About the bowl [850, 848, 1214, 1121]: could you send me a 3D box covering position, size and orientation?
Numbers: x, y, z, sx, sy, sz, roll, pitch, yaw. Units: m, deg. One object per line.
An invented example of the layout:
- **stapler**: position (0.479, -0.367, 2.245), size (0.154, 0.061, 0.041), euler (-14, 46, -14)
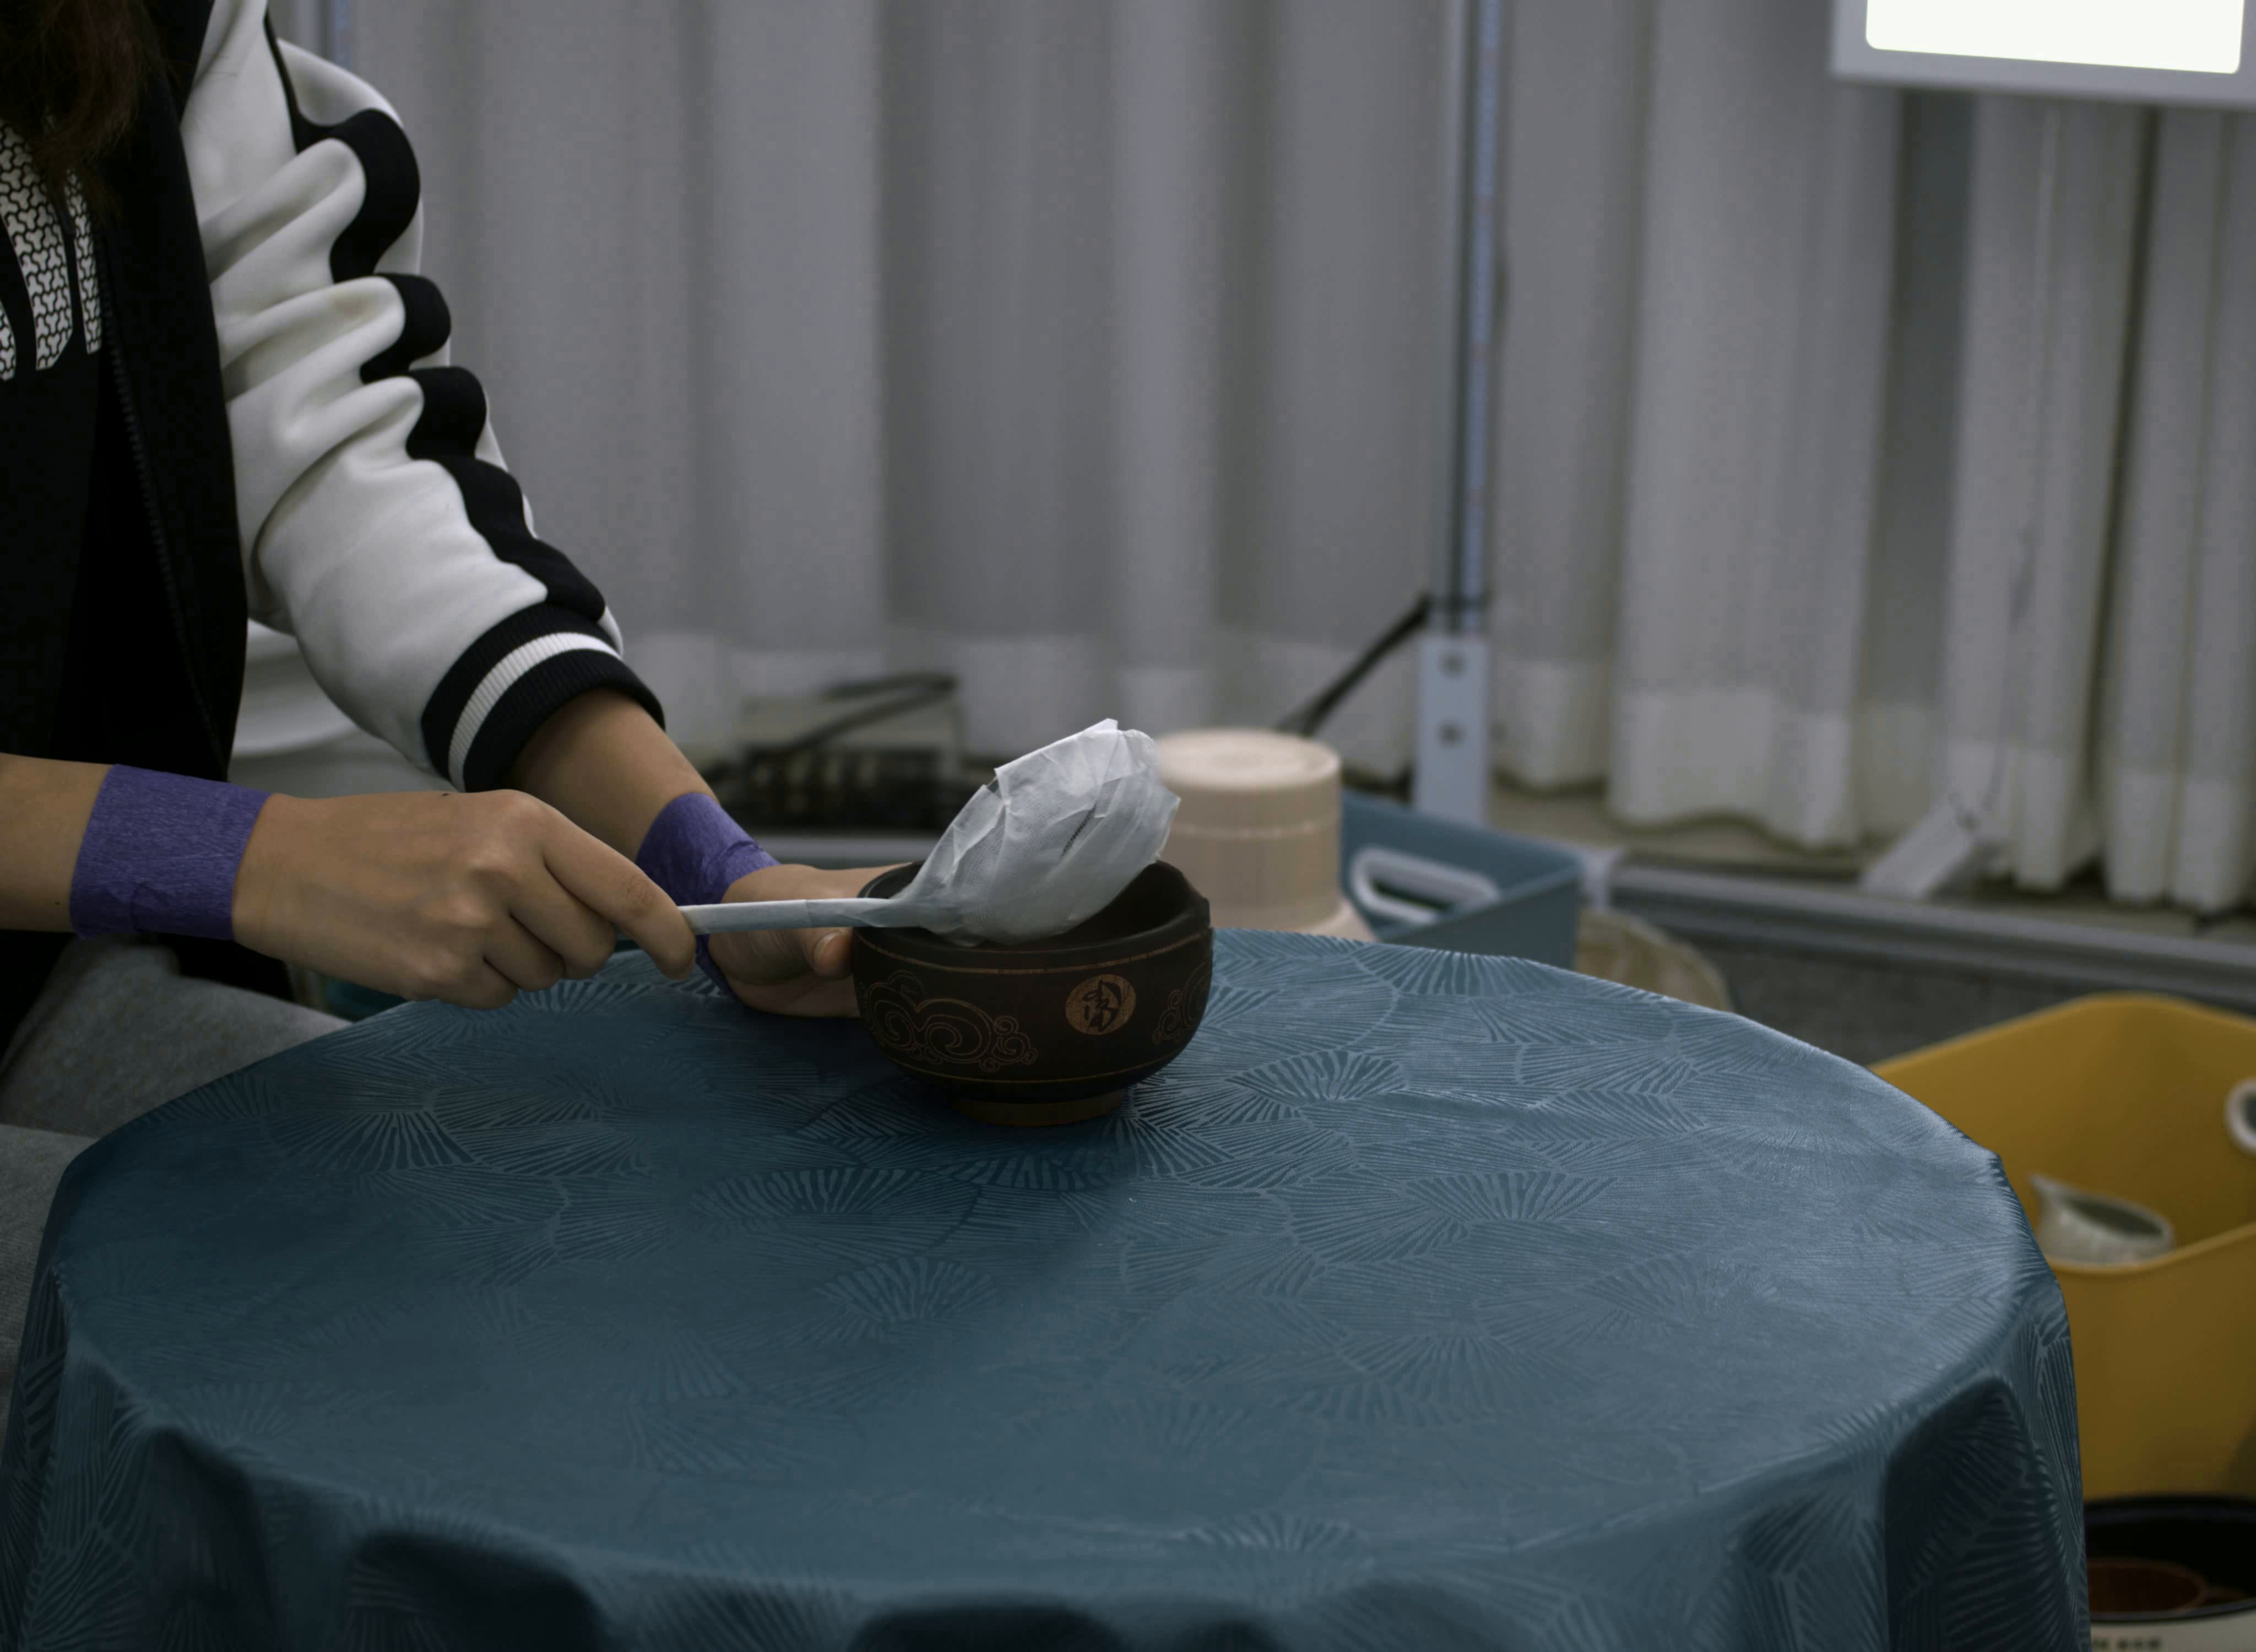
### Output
- **bowl**: position (-0.031, 0.053, 1.694), size (0.117, 0.070, 0.117), euler (0, 17, 1)

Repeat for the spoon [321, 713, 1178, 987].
- **spoon**: position (-0.120, 0.015, 1.675), size (0.276, 0.102, 0.059), euler (-5, 50, 11)
